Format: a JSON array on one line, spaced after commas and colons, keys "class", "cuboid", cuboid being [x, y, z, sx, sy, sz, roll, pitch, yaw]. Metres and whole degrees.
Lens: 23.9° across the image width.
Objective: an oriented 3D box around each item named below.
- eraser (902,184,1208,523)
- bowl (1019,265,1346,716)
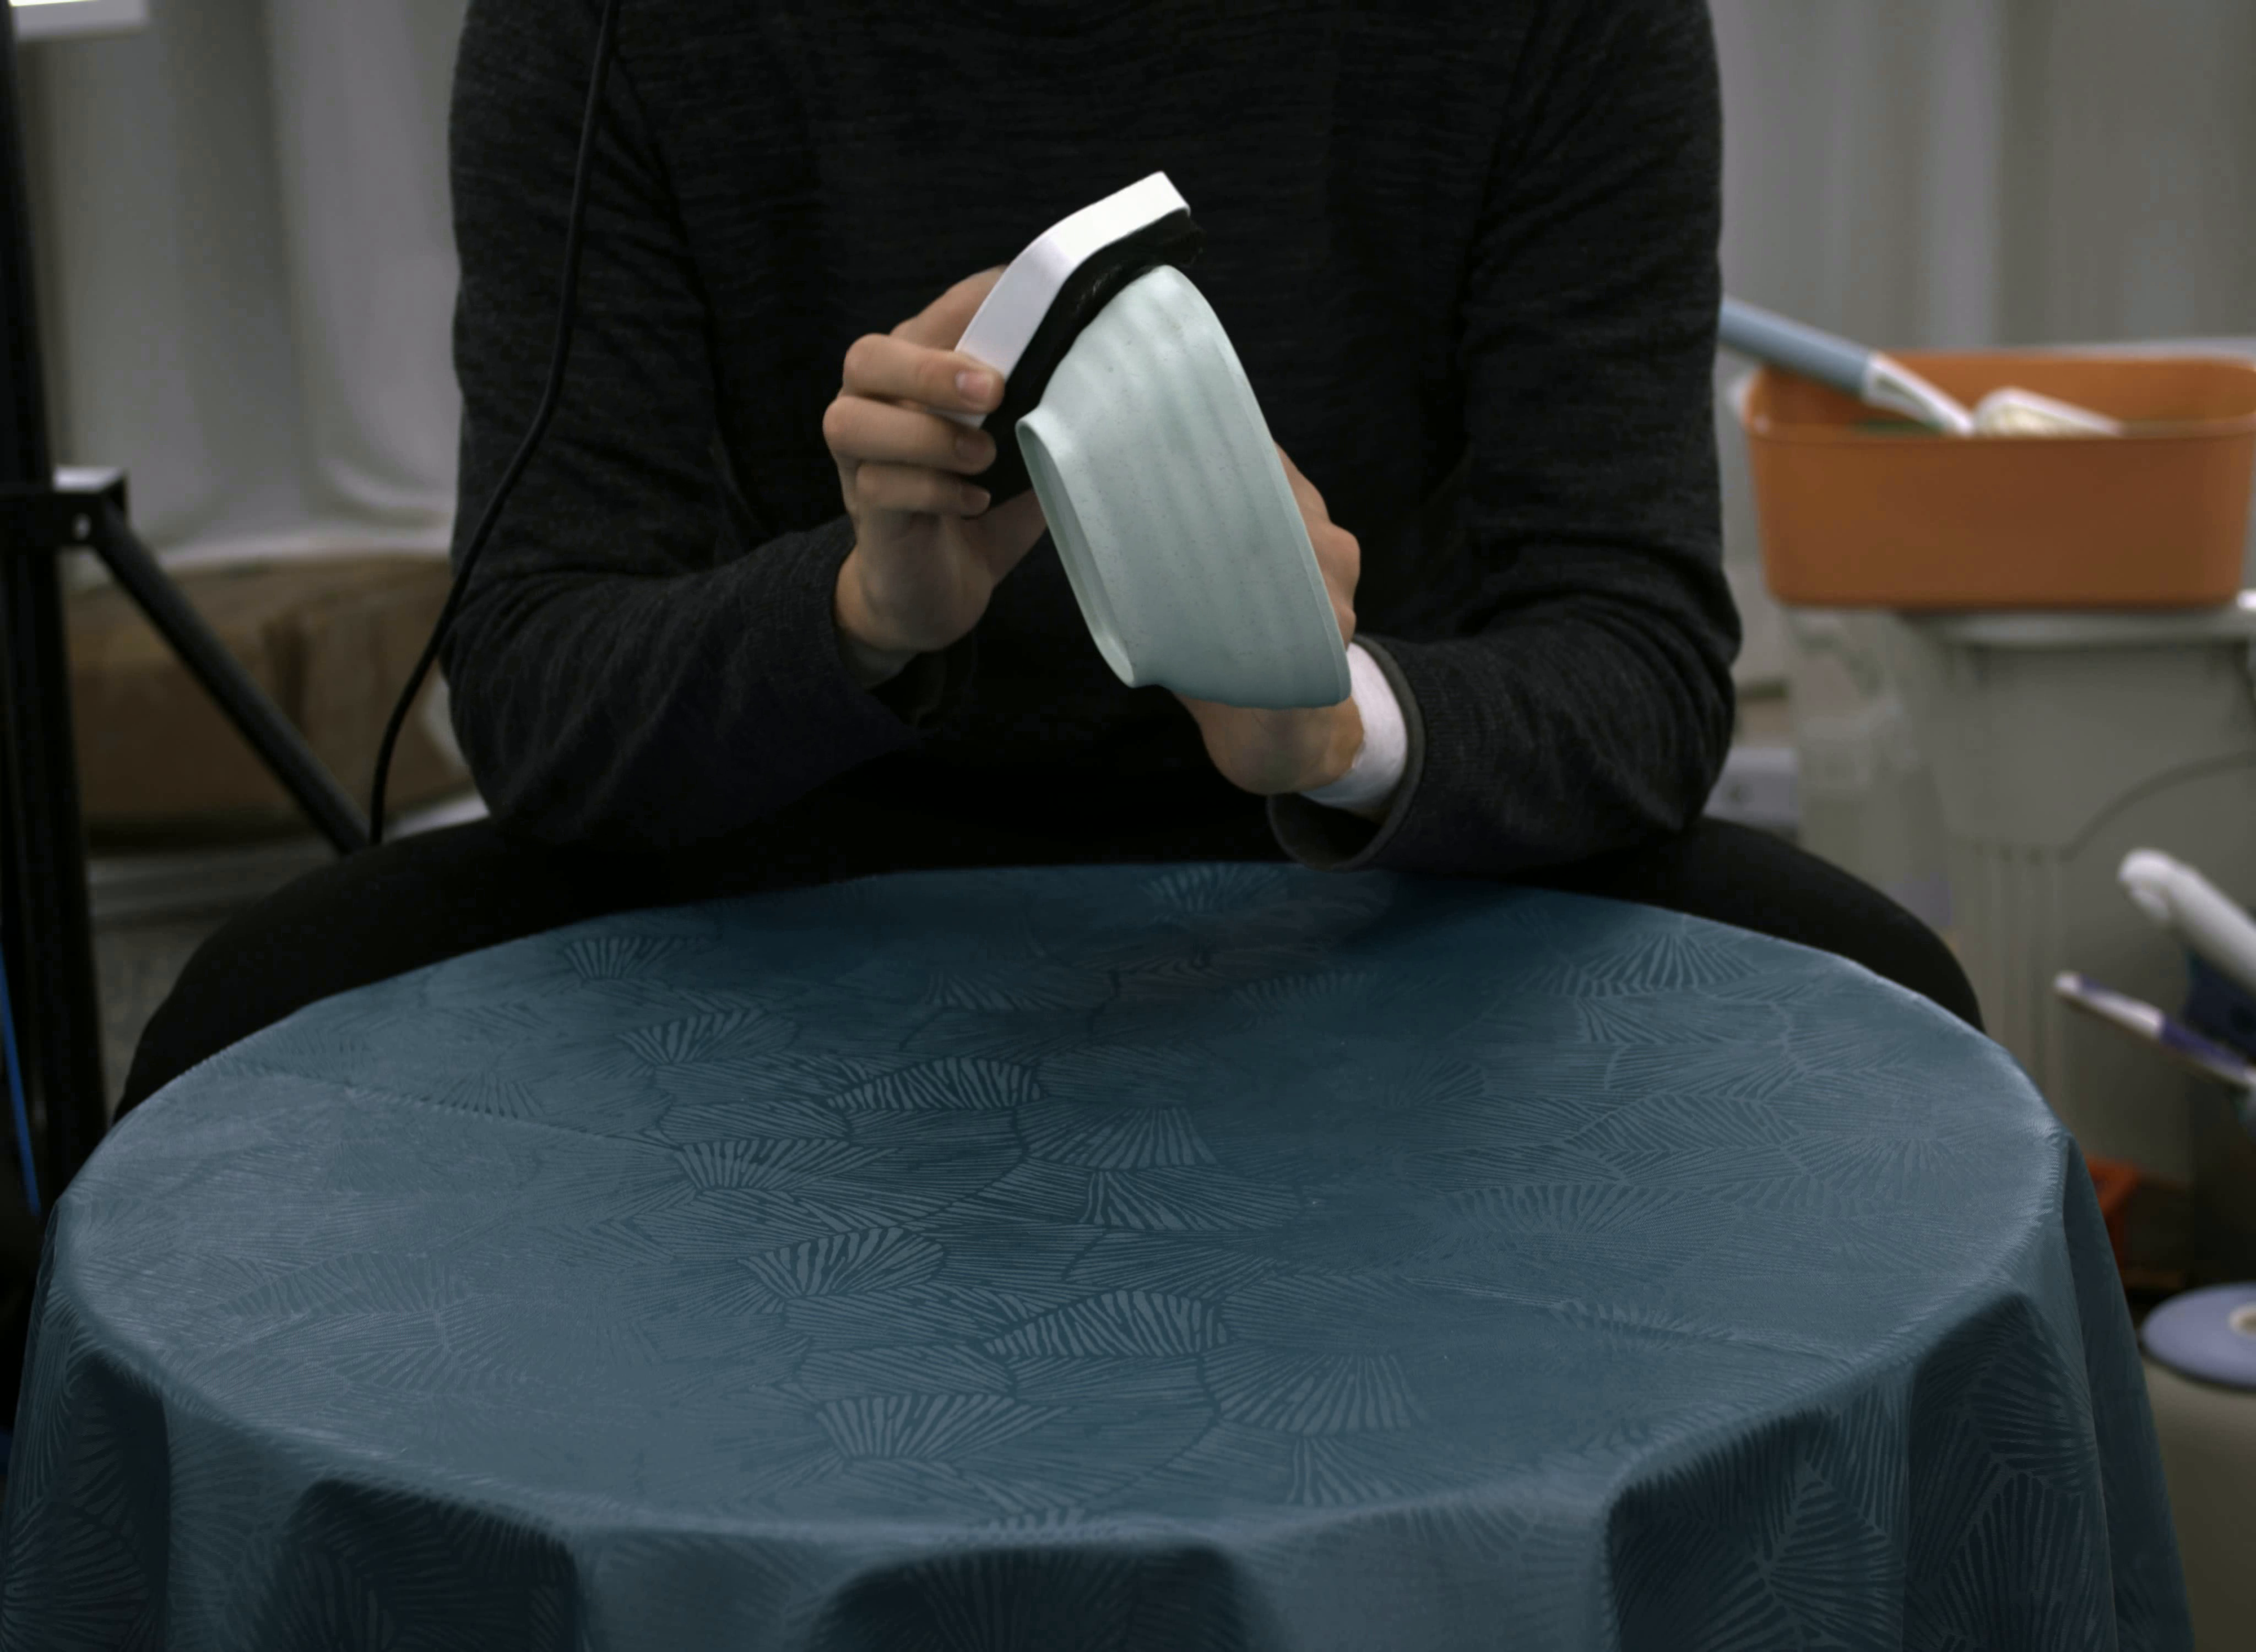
[{"class": "eraser", "cuboid": [-0.023, -0.147, 1.645, 0.062, 0.035, 0.132, -28, -17, -37]}, {"class": "bowl", "cuboid": [0.010, -0.090, 1.574, 0.058, 0.150, 0.153, -21, 18, -4]}]
